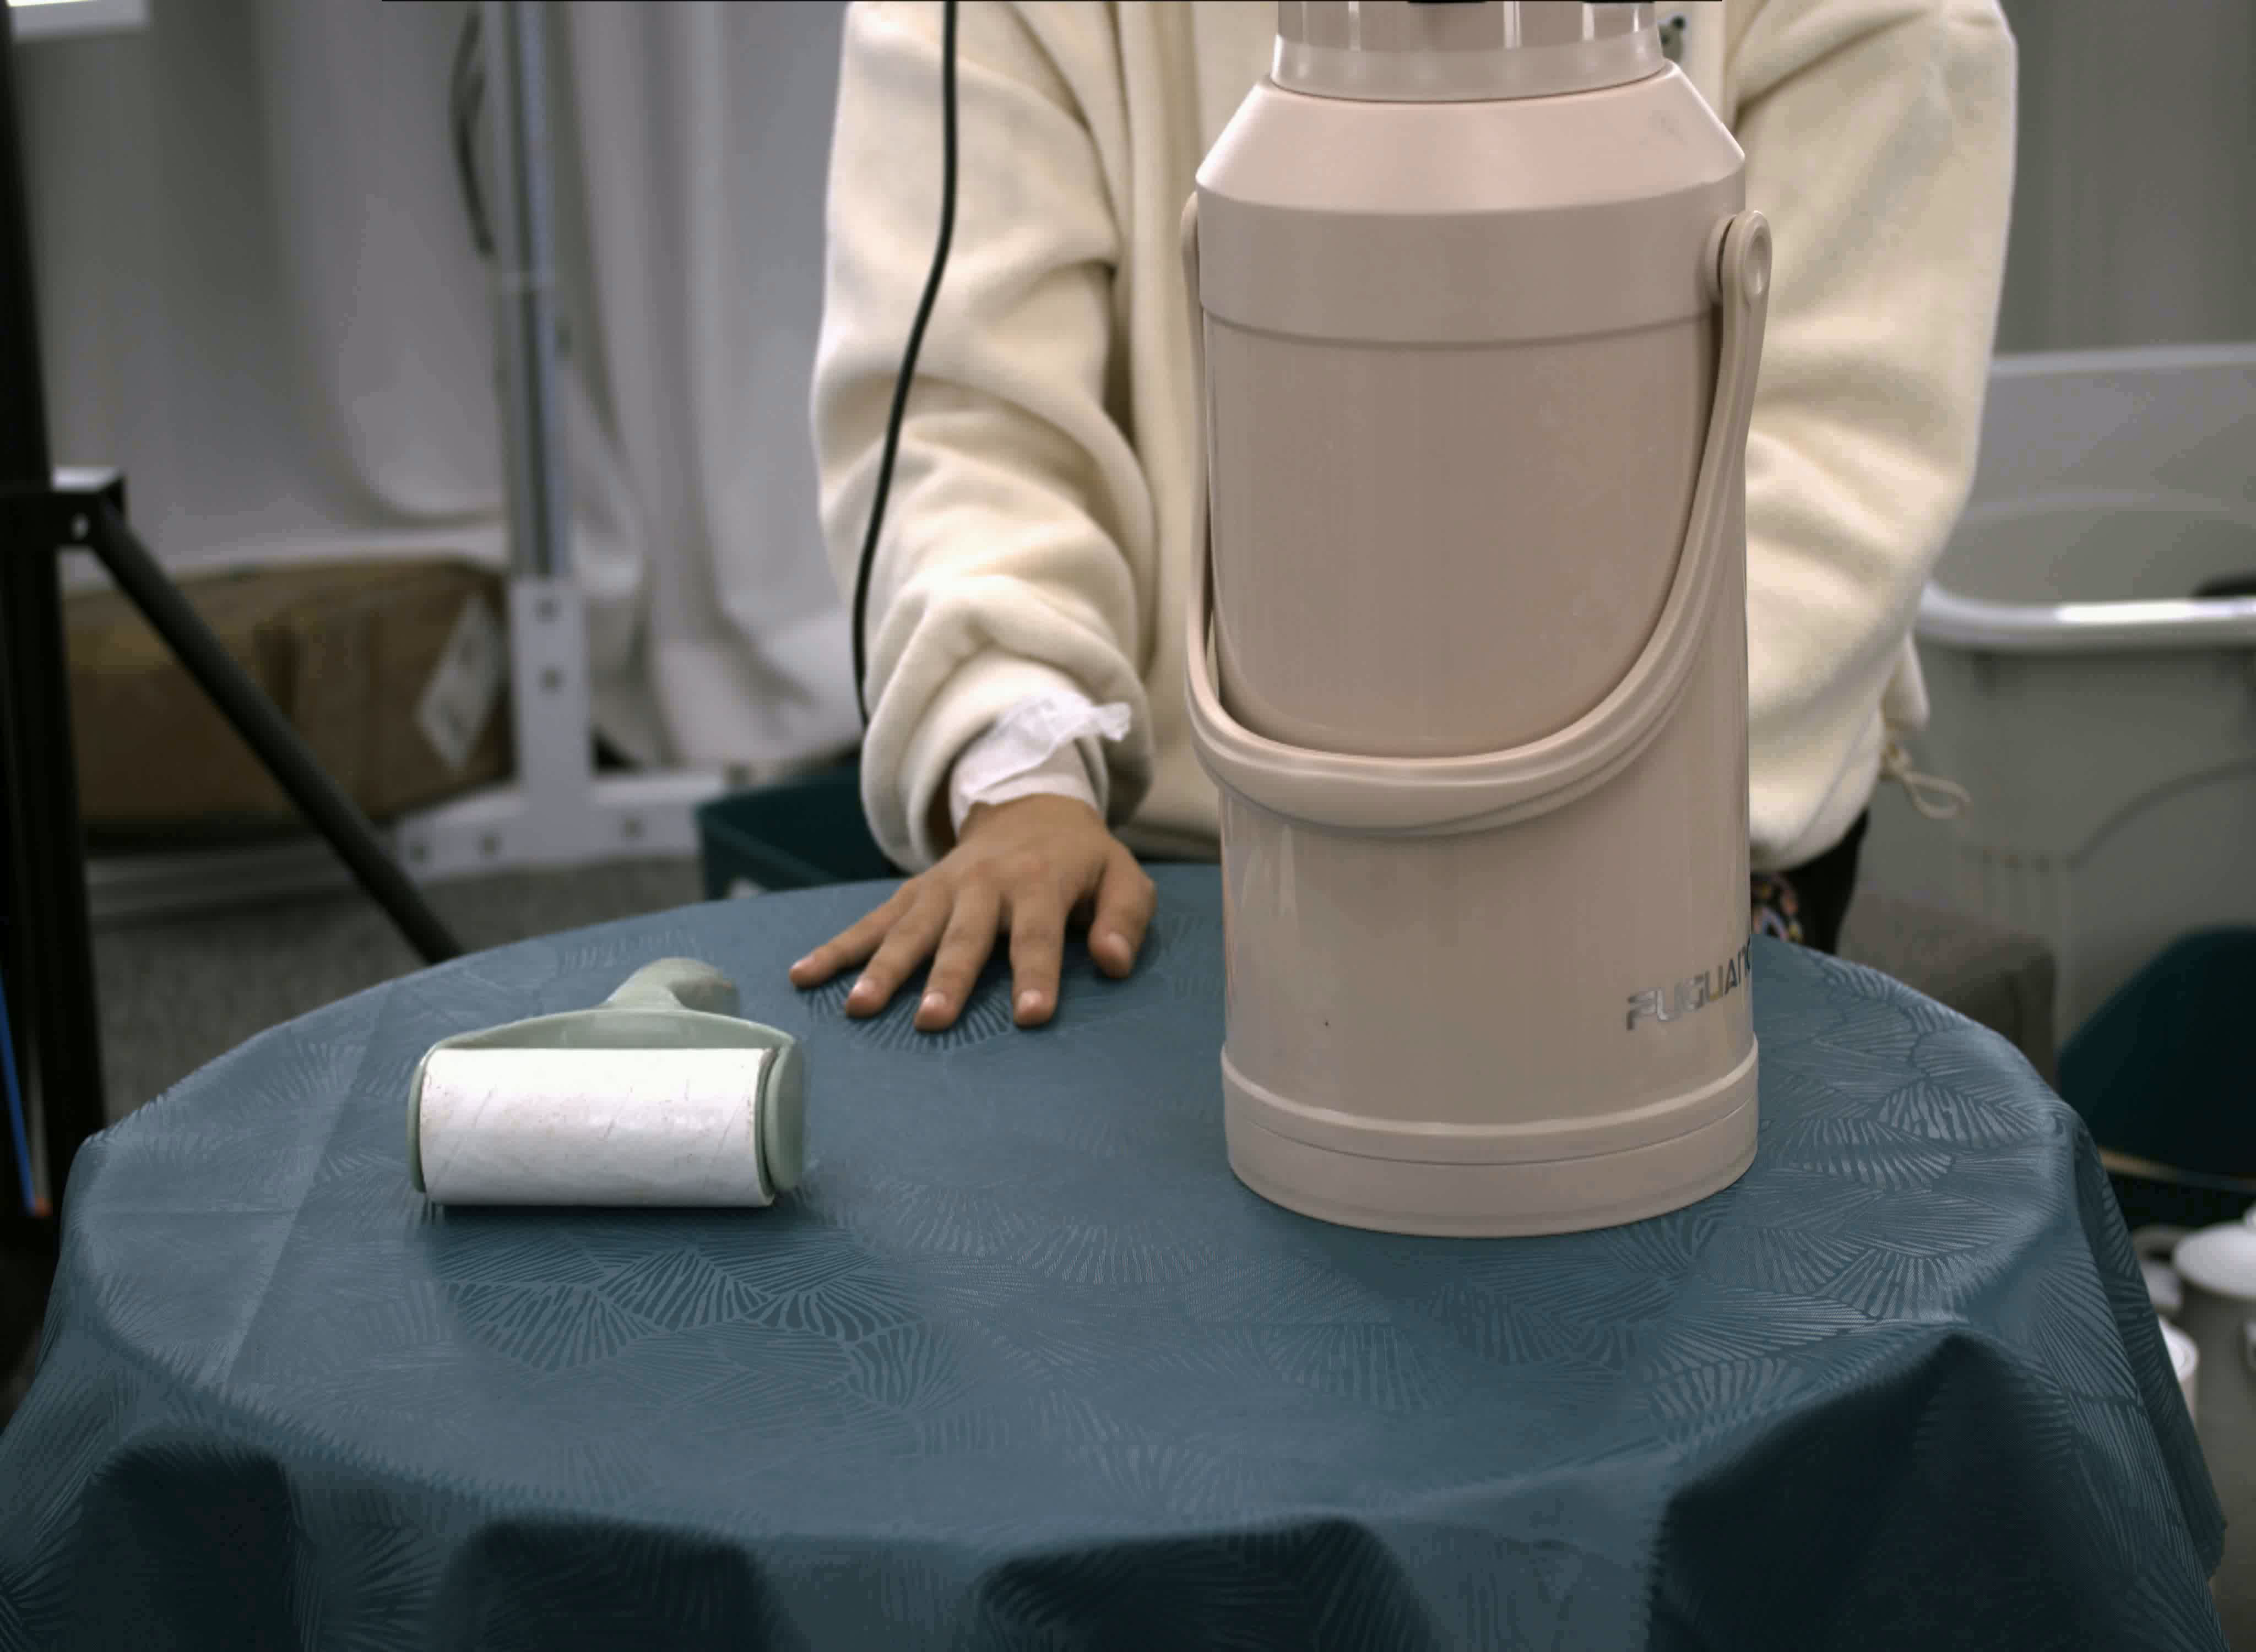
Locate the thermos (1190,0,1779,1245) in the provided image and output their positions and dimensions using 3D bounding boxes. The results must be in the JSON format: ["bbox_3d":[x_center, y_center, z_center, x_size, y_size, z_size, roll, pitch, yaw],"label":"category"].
[{"bbox_3d":[0.109,-0.097,1.539,0.178,0.406,0.203,6,16,29],"label":"thermos"}]

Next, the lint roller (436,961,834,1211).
[{"bbox_3d":[-0.138,0.069,1.635,0.117,0.048,0.197,-3,15,8],"label":"lint roller"}]
